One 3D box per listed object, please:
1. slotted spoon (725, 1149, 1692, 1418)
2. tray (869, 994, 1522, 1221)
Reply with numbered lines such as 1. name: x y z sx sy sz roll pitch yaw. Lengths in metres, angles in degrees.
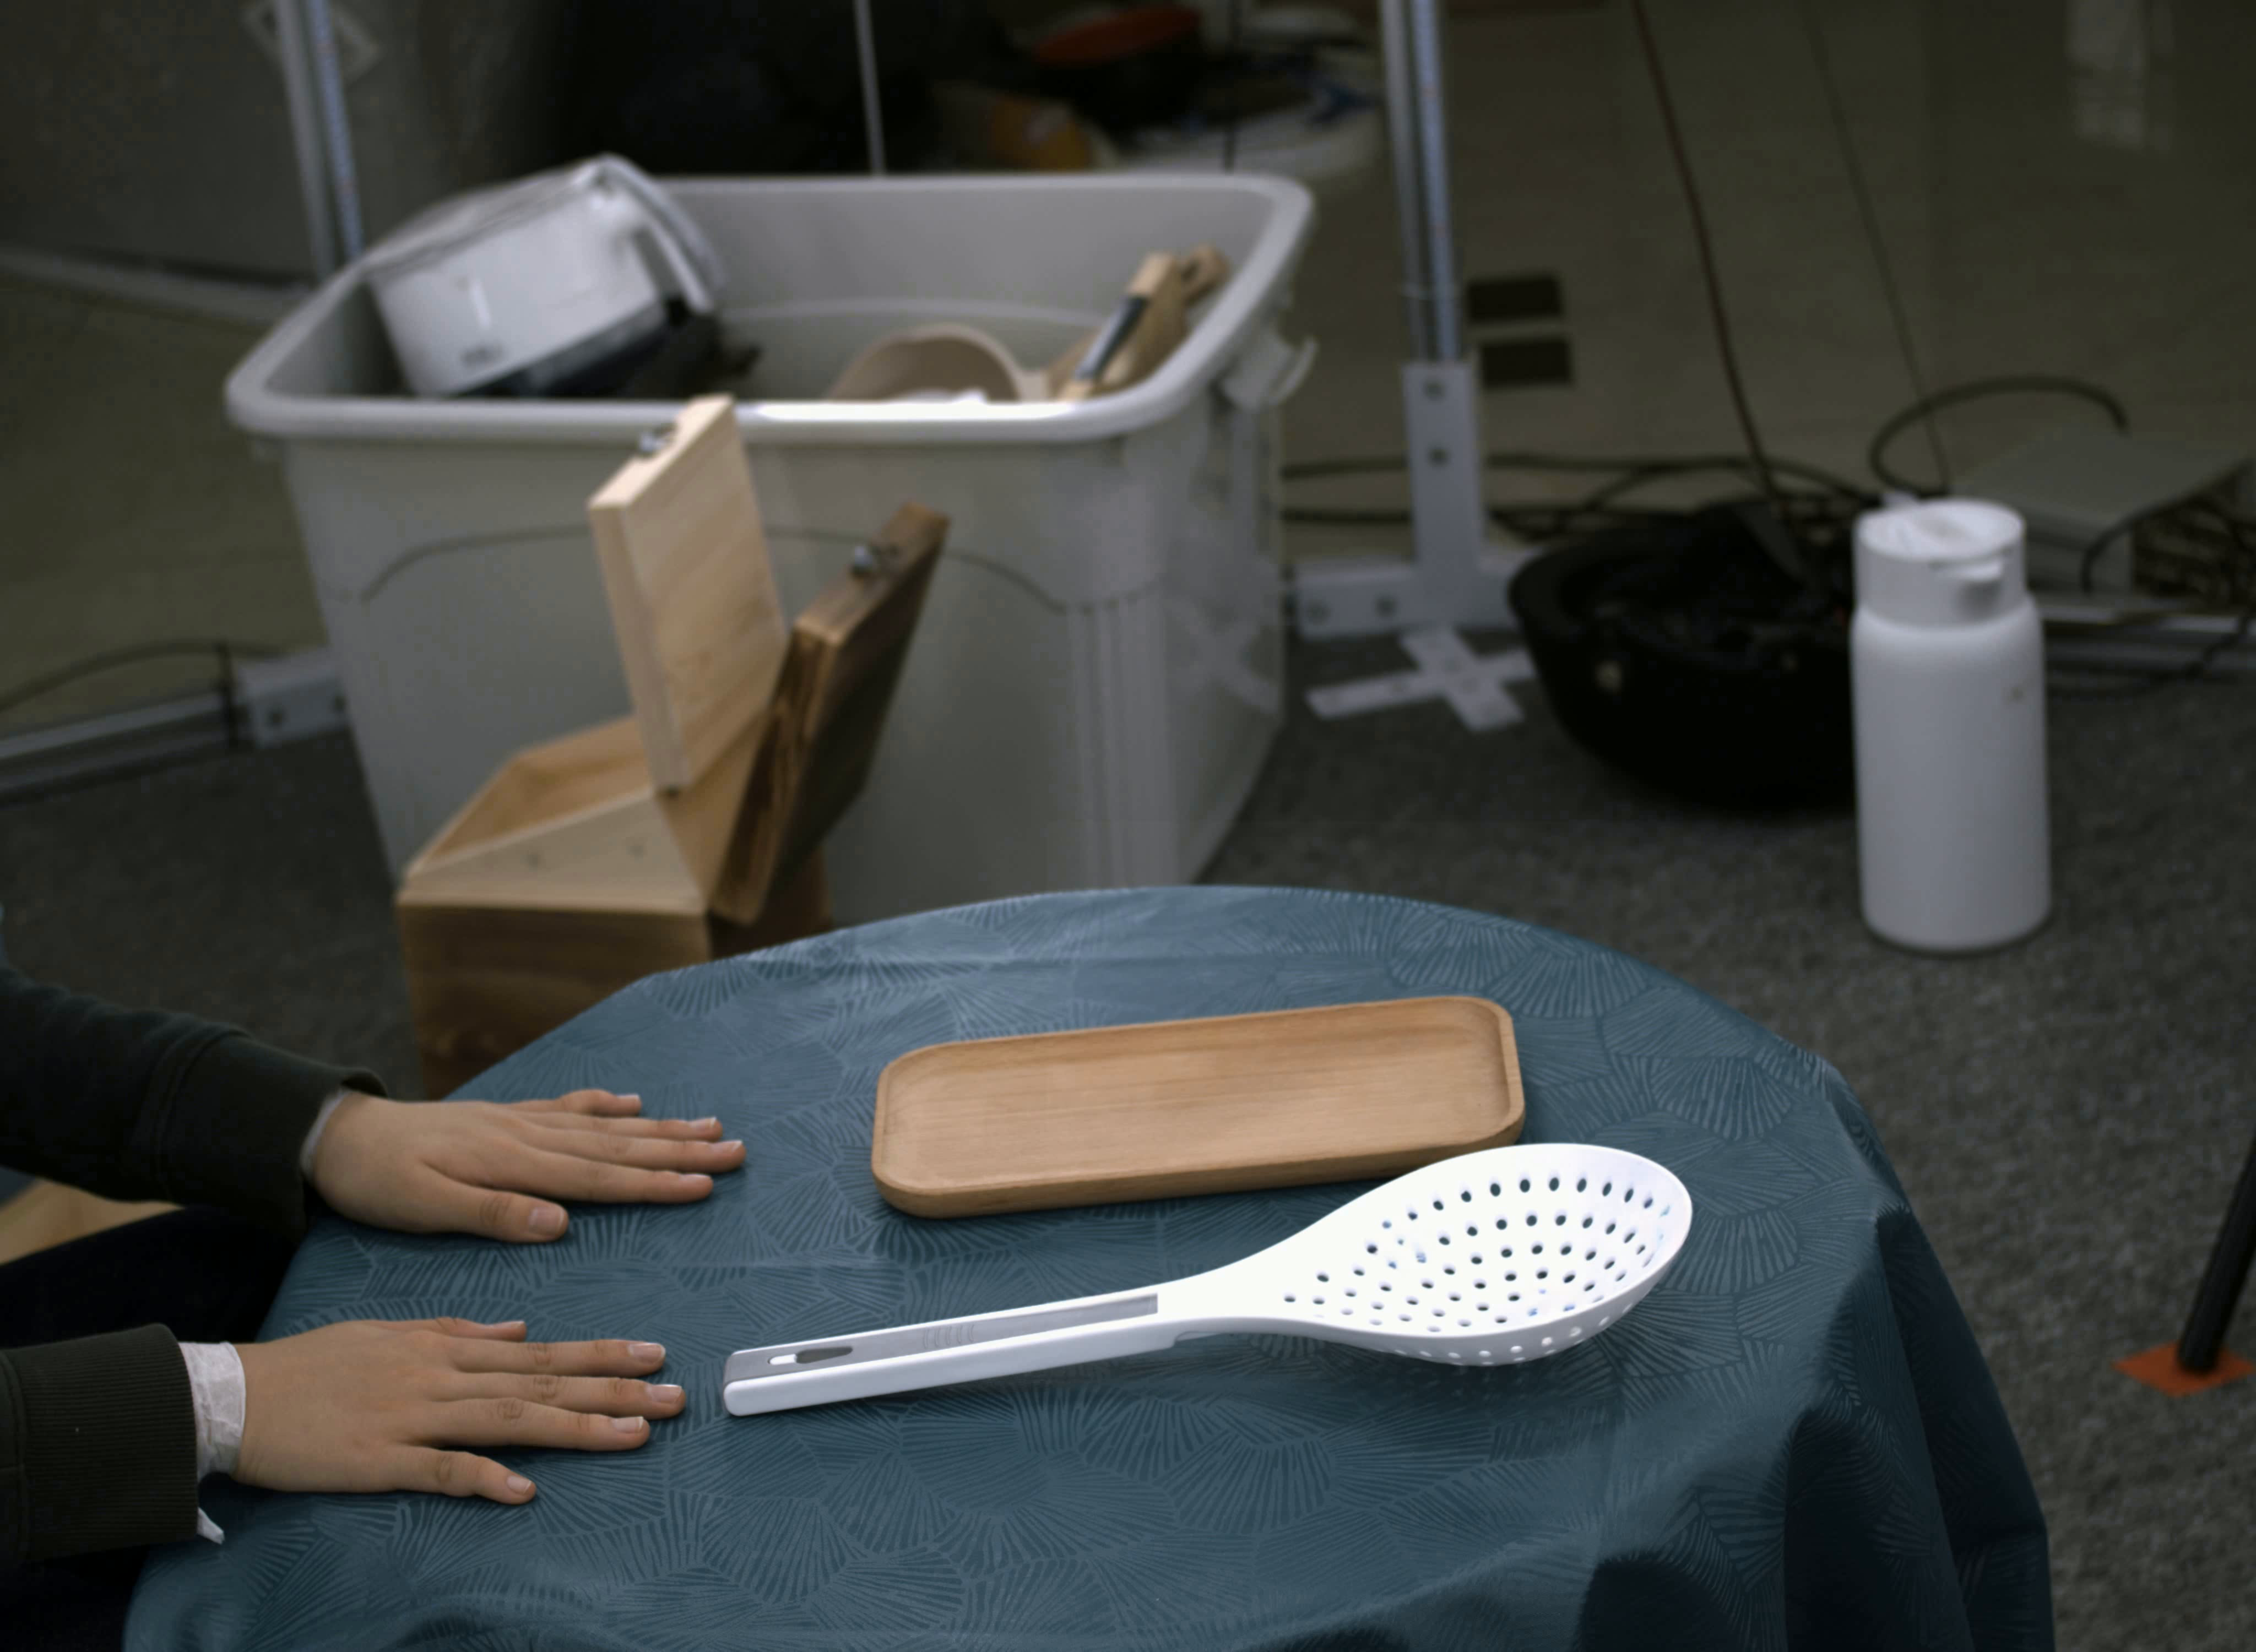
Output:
1. slotted spoon: 0.028 0.172 2.021 0.349 0.046 0.134 -6 23 3
2. tray: 0.026 0.109 2.191 0.250 0.023 0.129 -6 23 3
